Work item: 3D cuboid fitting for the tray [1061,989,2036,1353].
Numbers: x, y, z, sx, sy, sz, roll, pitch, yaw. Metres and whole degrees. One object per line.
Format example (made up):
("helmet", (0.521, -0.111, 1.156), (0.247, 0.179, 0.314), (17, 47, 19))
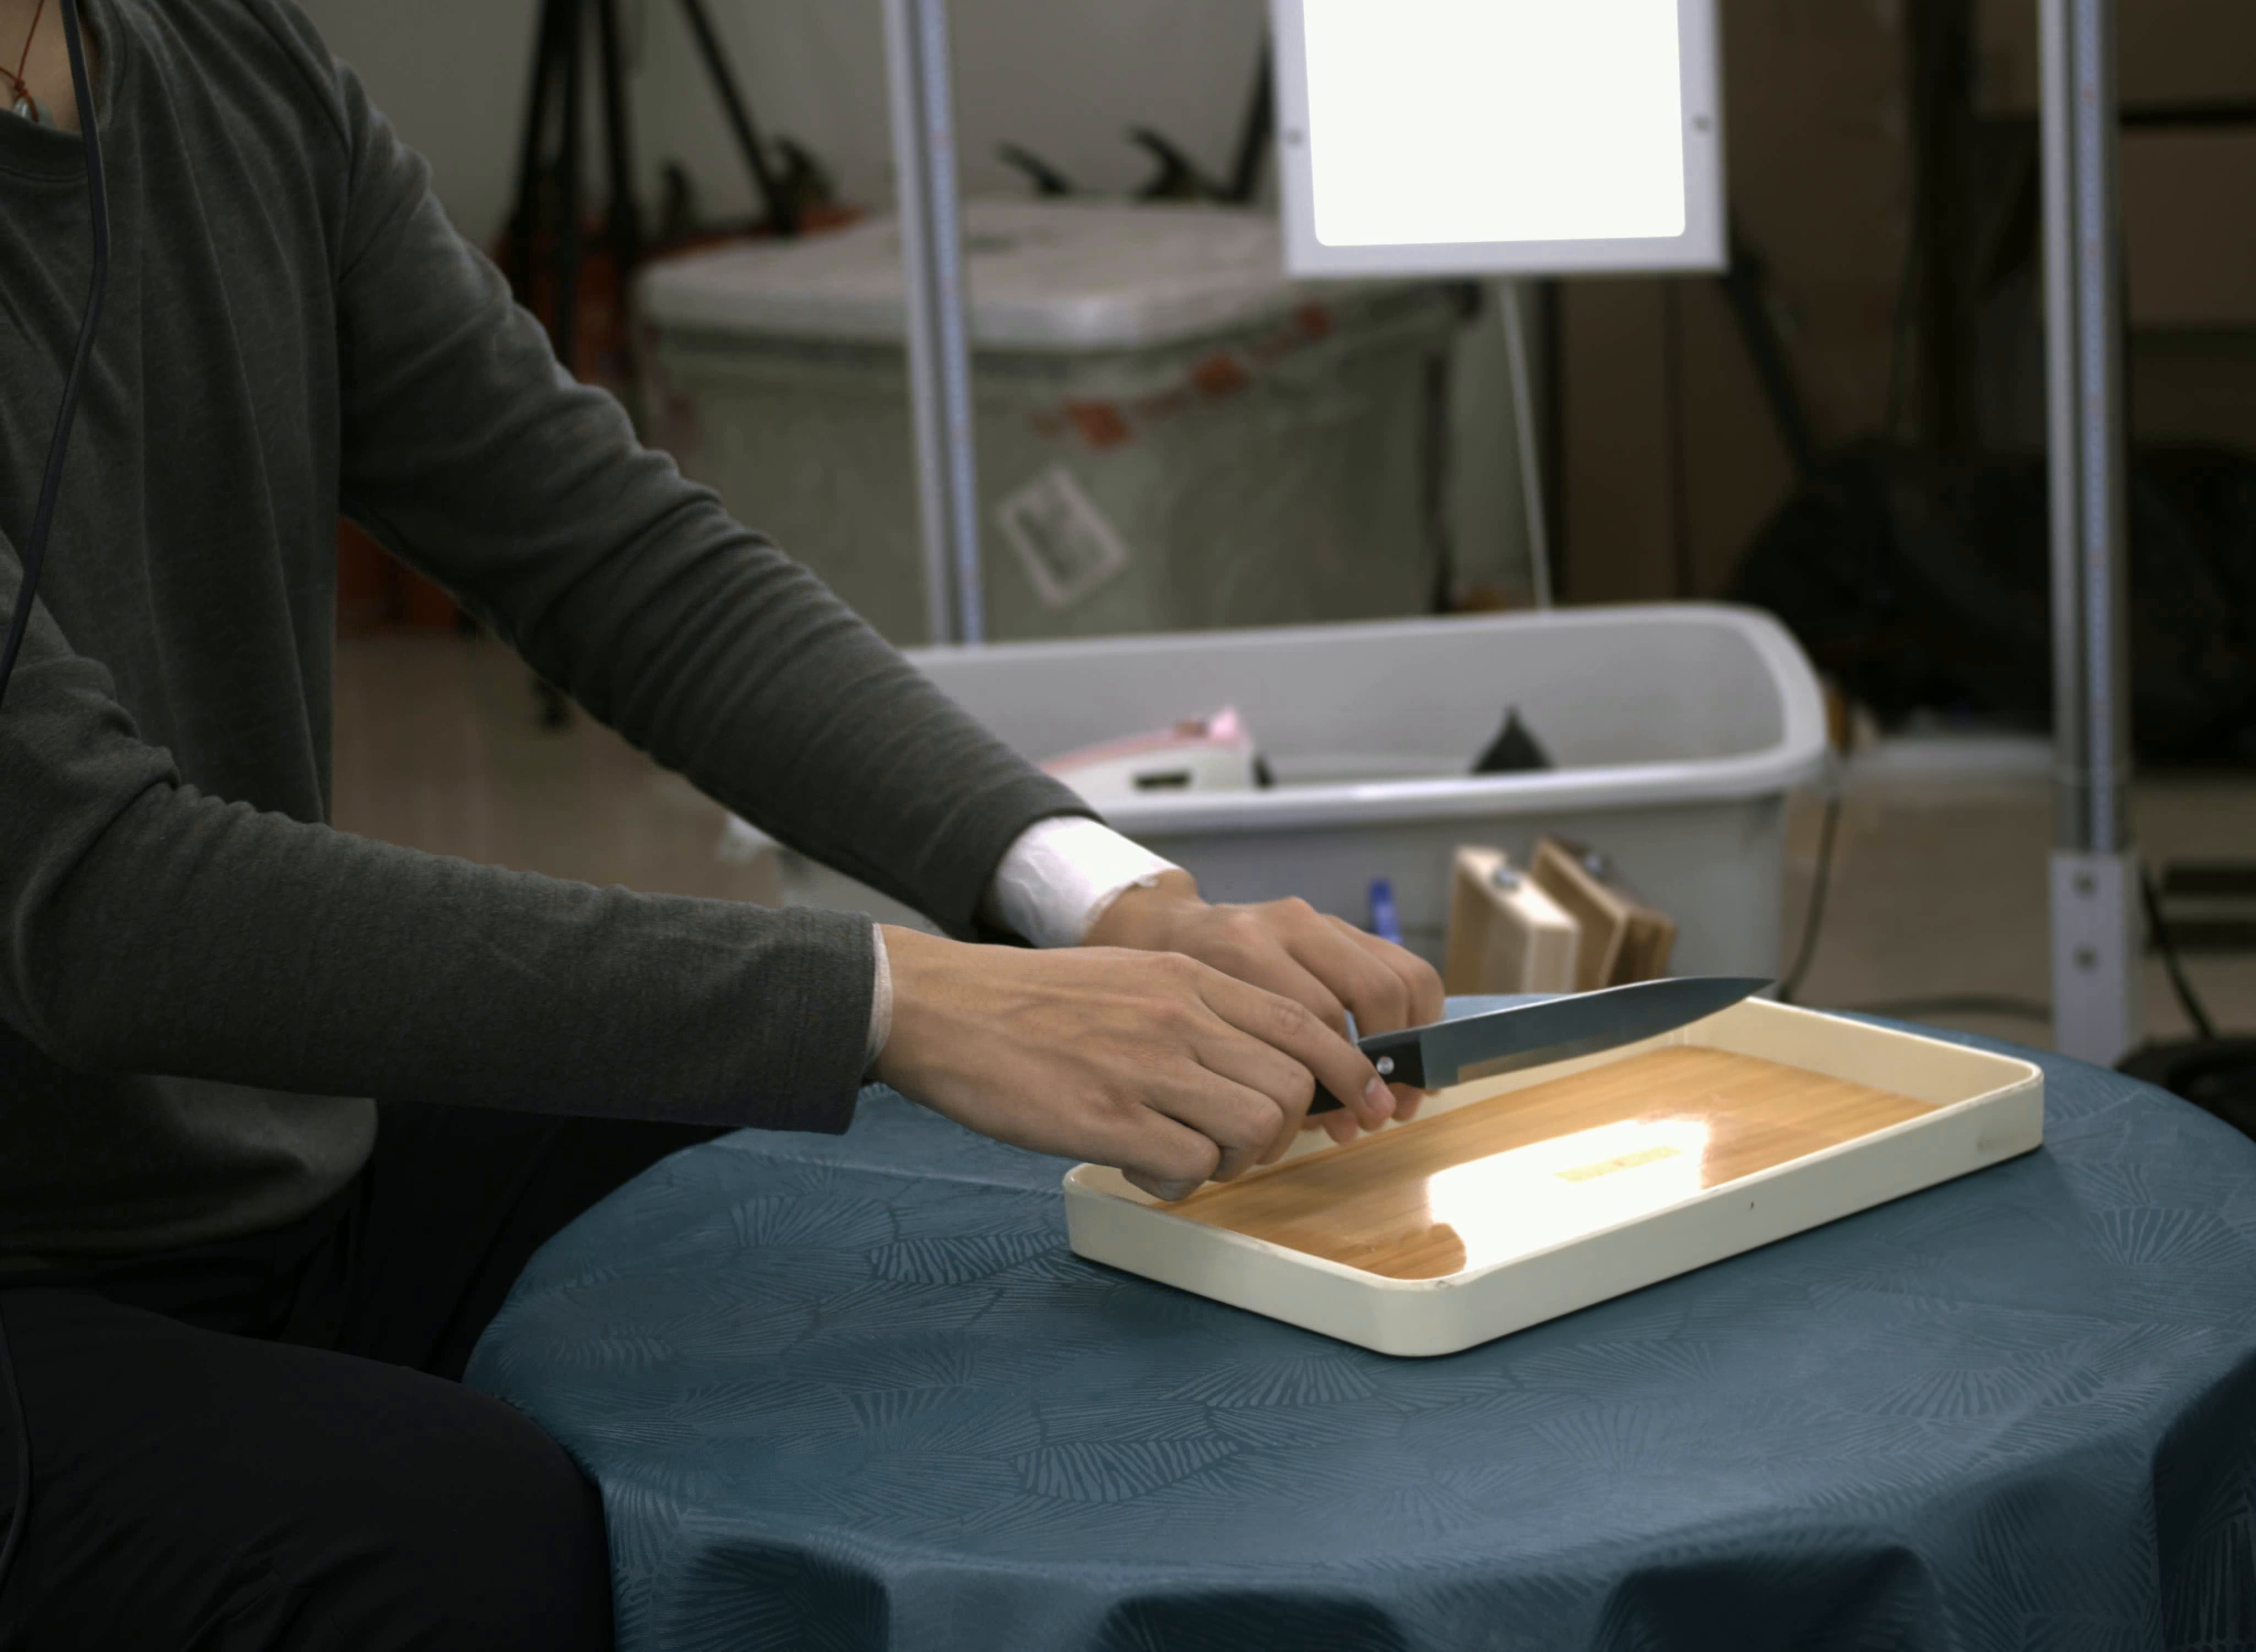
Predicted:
("tray", (0.146, 0.112, 1.853), (0.293, 0.027, 0.195), (-15, 16, -34))

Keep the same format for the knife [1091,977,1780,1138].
("knife", (0.102, 0.071, 1.798), (0.235, 0.024, 0.016), (-10, 13, -9))
